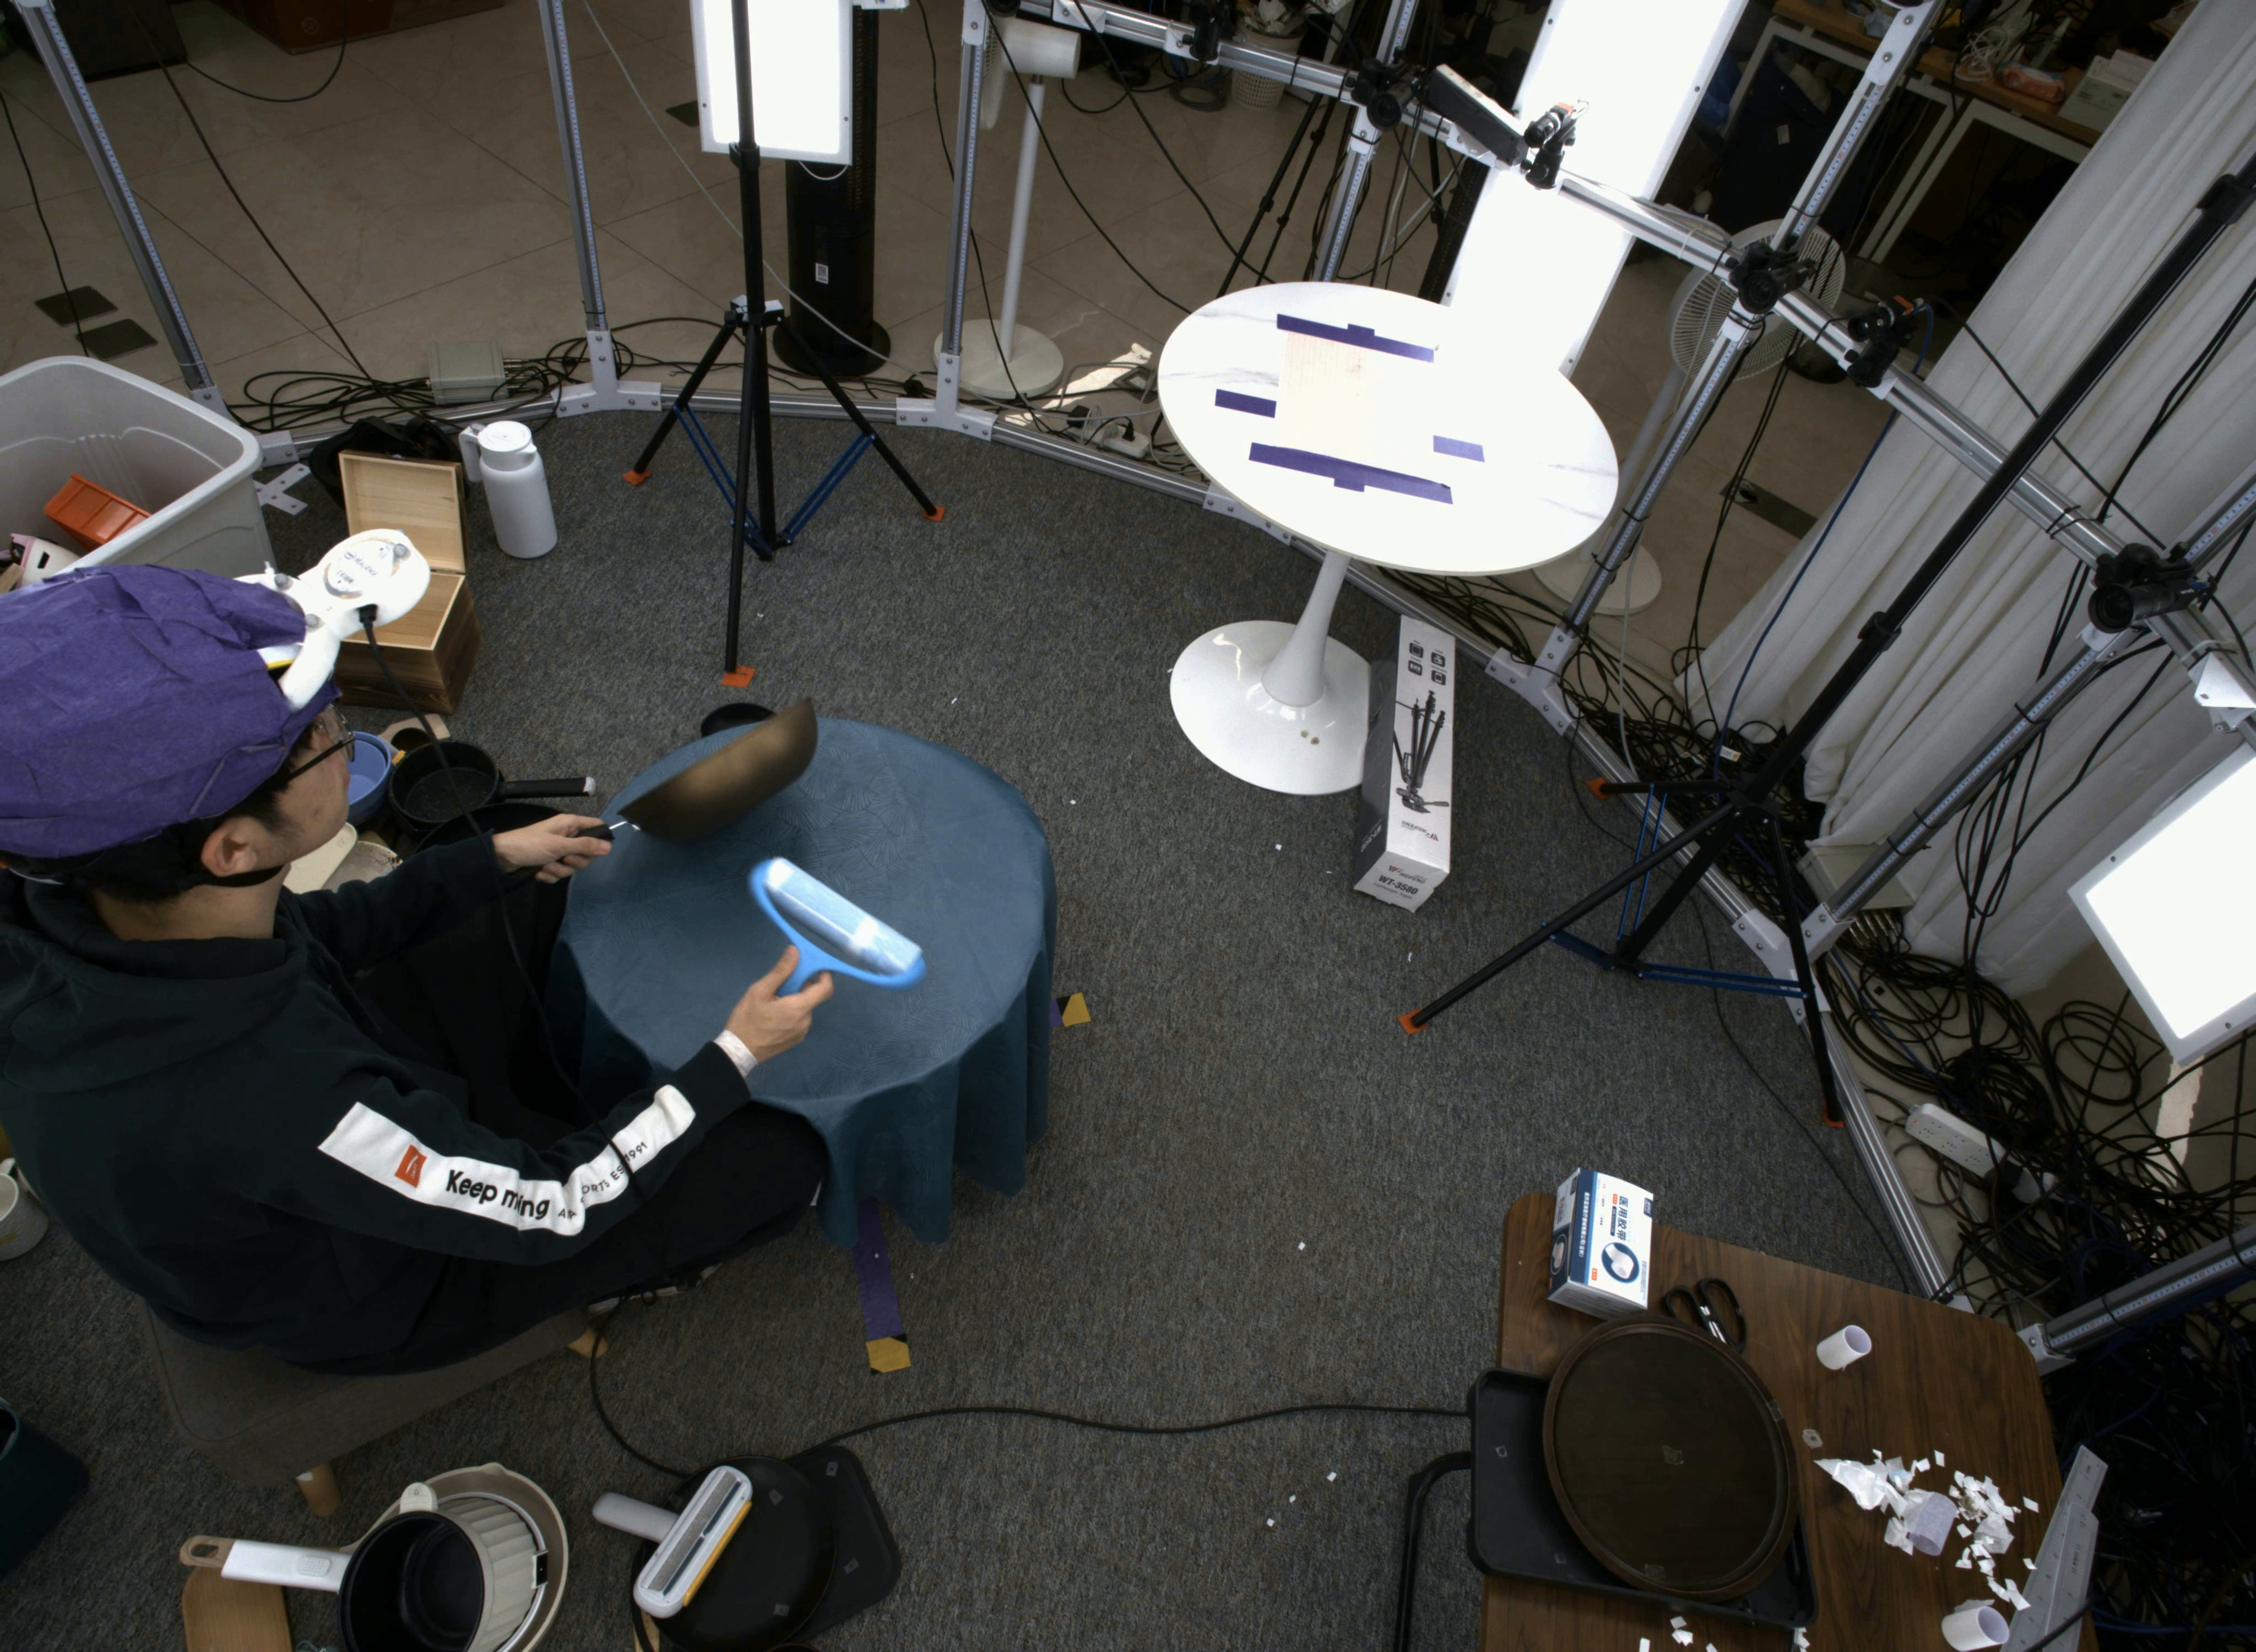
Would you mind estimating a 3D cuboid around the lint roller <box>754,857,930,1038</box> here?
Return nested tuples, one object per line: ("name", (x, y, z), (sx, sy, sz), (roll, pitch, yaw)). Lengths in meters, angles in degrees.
("lint roller", (-0.355, 0.157, 1.477), (0.230, 0.067, 0.180), (33, 66, -9))

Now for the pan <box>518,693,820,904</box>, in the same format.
("pan", (-0.564, -0.009, 1.586), (0.463, 0.282, 0.088), (-34, 101, -17))
